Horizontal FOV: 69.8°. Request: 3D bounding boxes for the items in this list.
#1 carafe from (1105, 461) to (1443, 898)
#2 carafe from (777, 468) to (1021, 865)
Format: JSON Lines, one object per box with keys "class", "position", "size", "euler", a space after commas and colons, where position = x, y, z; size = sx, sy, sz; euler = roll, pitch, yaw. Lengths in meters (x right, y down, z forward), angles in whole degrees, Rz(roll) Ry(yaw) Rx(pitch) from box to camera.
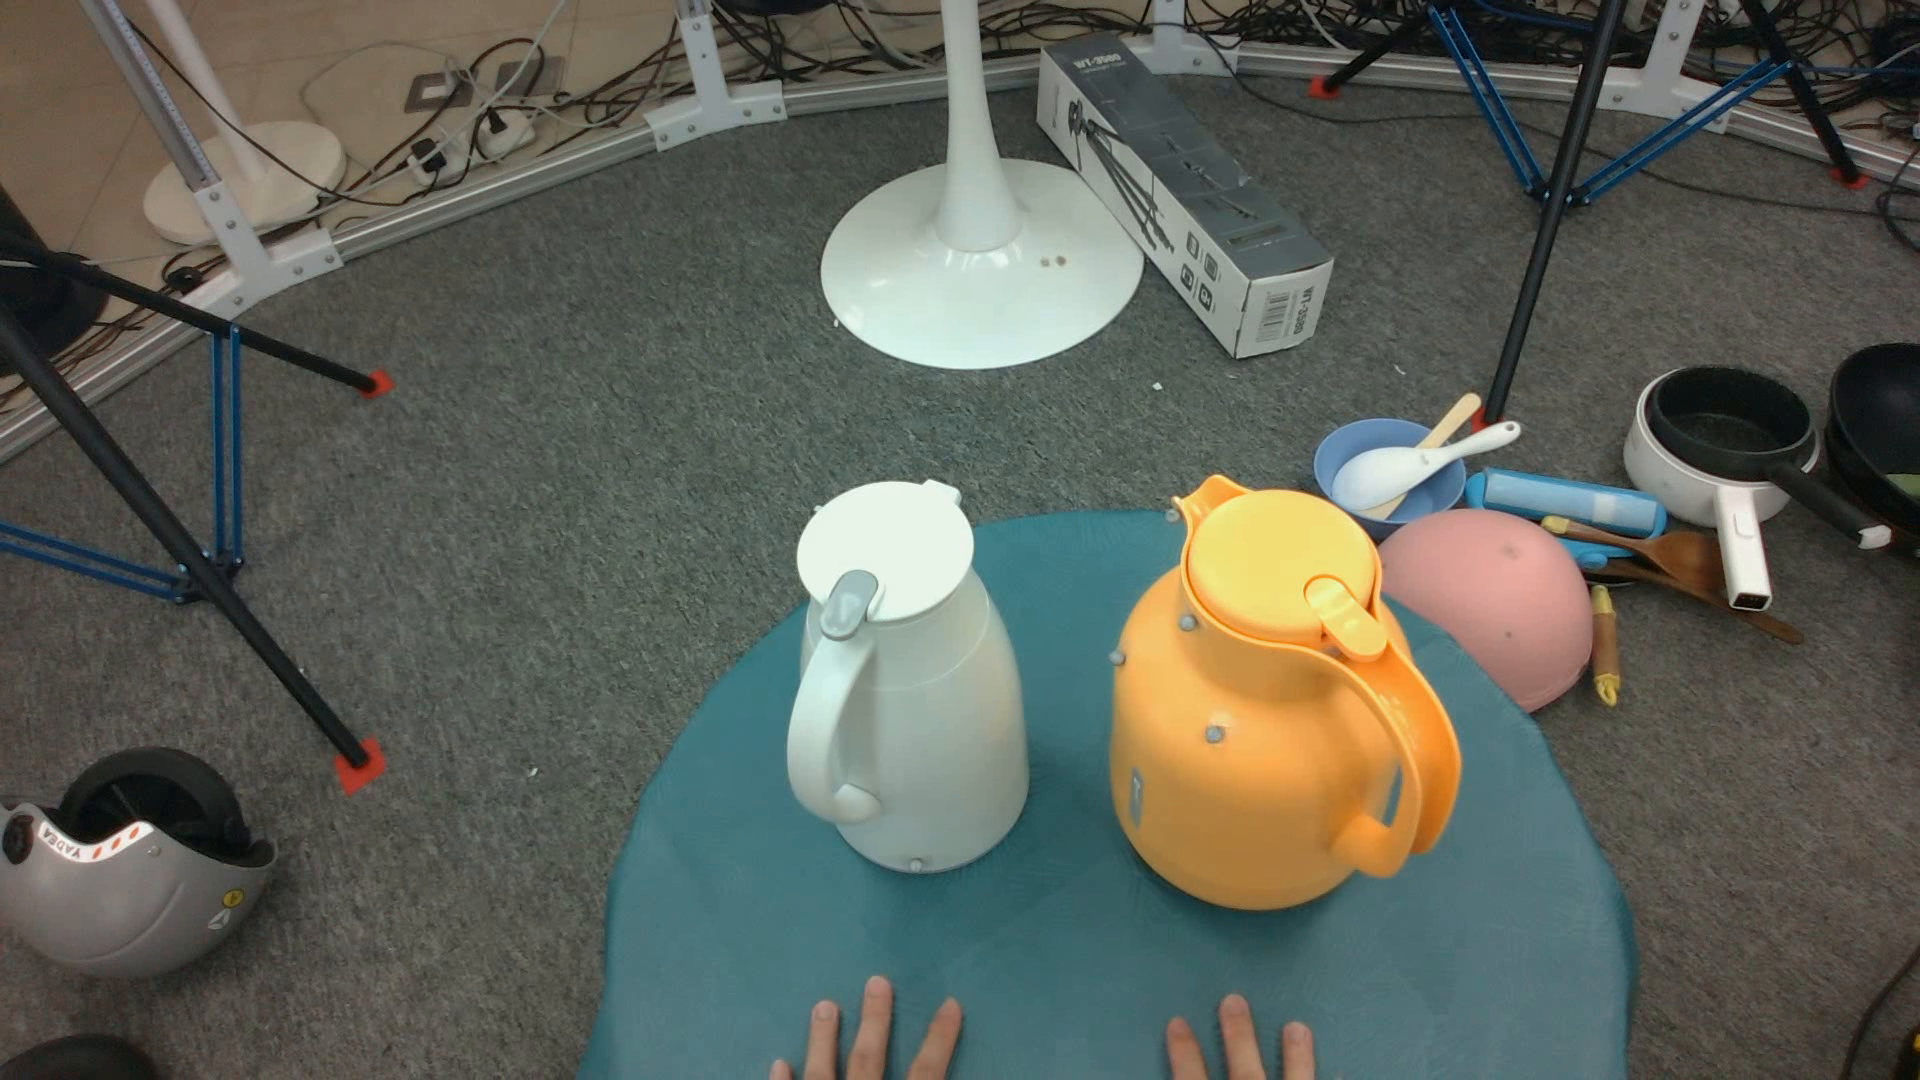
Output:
{"class": "carafe", "position": [0.170, 0.091, 0.751], "size": [0.164, 0.259, 0.203], "euler": [-28, 52, -14]}
{"class": "carafe", "position": [-0.043, 0.085, 0.780], "size": [0.132, 0.247, 0.168], "euler": [19, 55, 19]}
